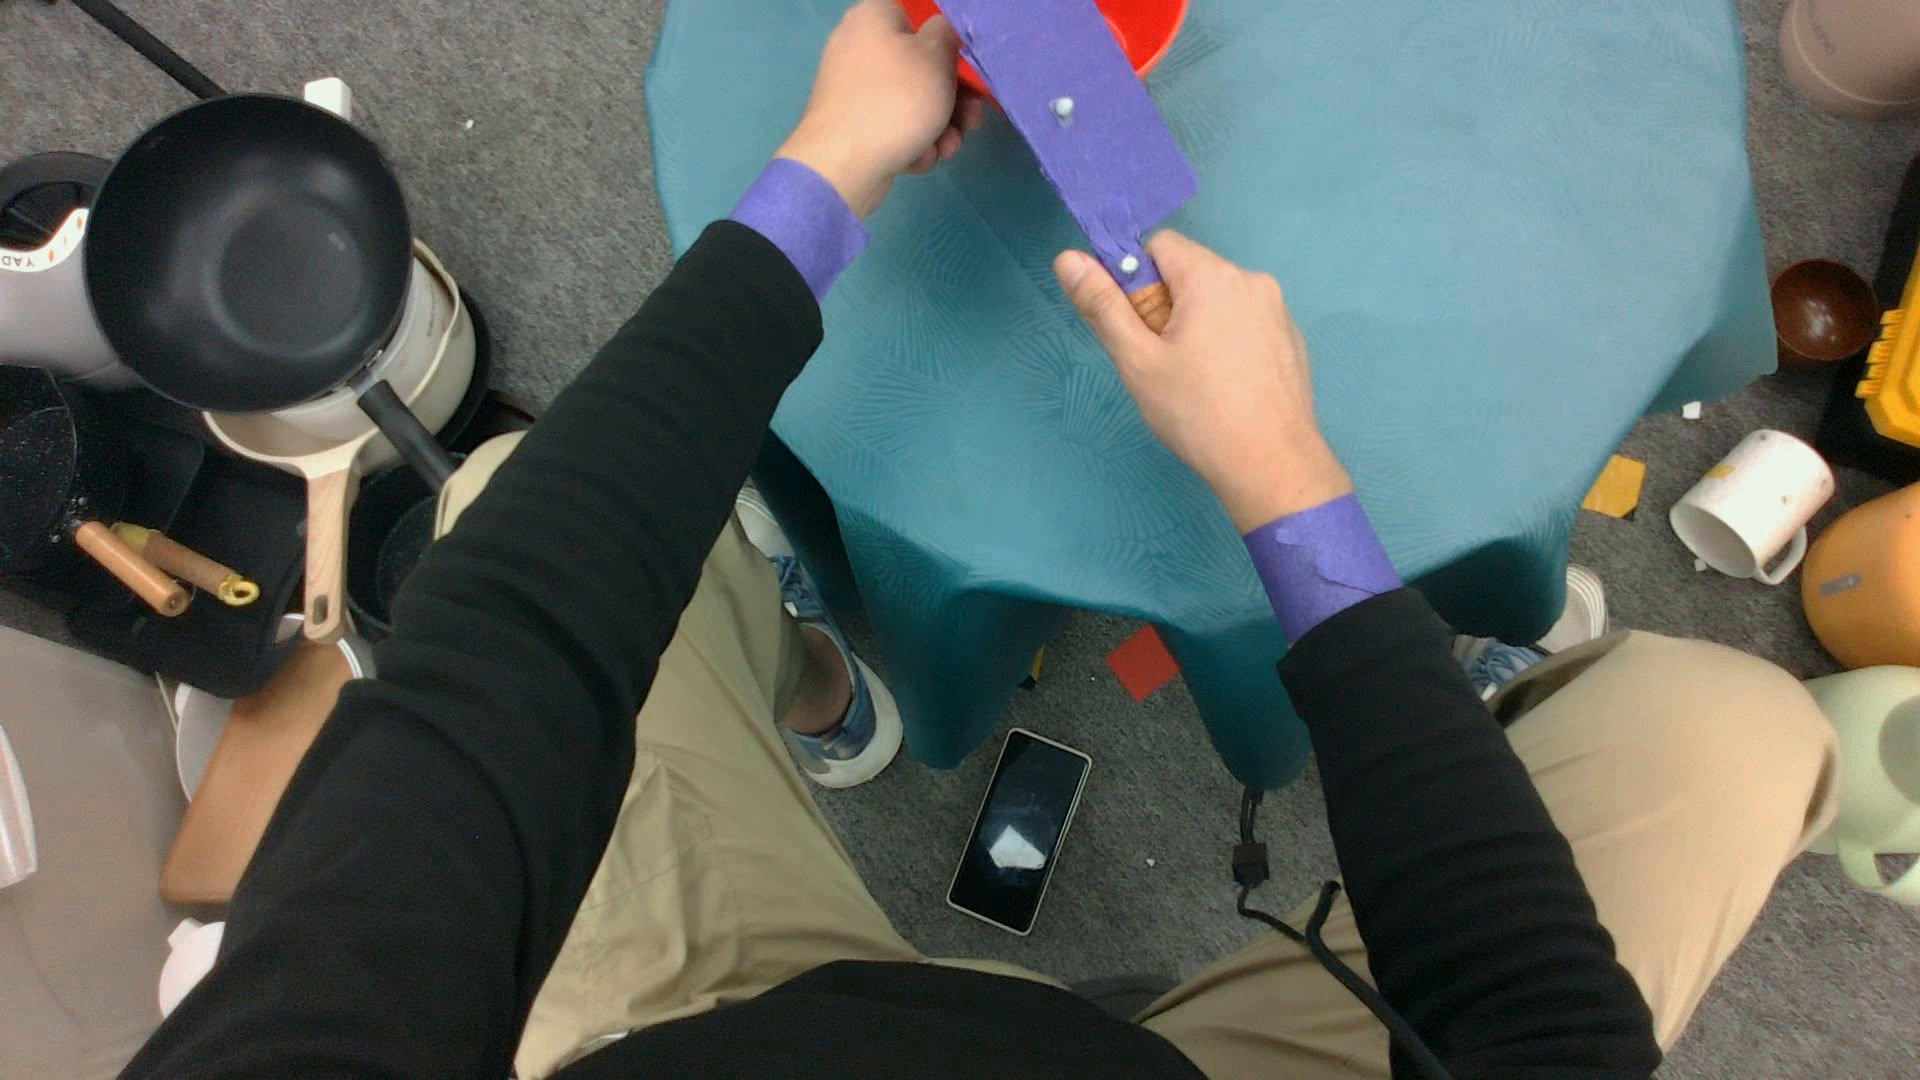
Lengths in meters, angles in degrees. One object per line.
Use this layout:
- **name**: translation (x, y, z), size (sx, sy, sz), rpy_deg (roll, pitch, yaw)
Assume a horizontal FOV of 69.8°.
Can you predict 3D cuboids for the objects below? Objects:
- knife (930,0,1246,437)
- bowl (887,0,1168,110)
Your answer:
- **knife**: translation (0.058, -0.199, 0.645), size (0.104, 0.032, 0.315), rpy_deg (-43, 105, -36)
- **bowl**: translation (0.036, -0.283, 0.723), size (0.148, 0.104, 0.148), rpy_deg (-1, 77, 5)
